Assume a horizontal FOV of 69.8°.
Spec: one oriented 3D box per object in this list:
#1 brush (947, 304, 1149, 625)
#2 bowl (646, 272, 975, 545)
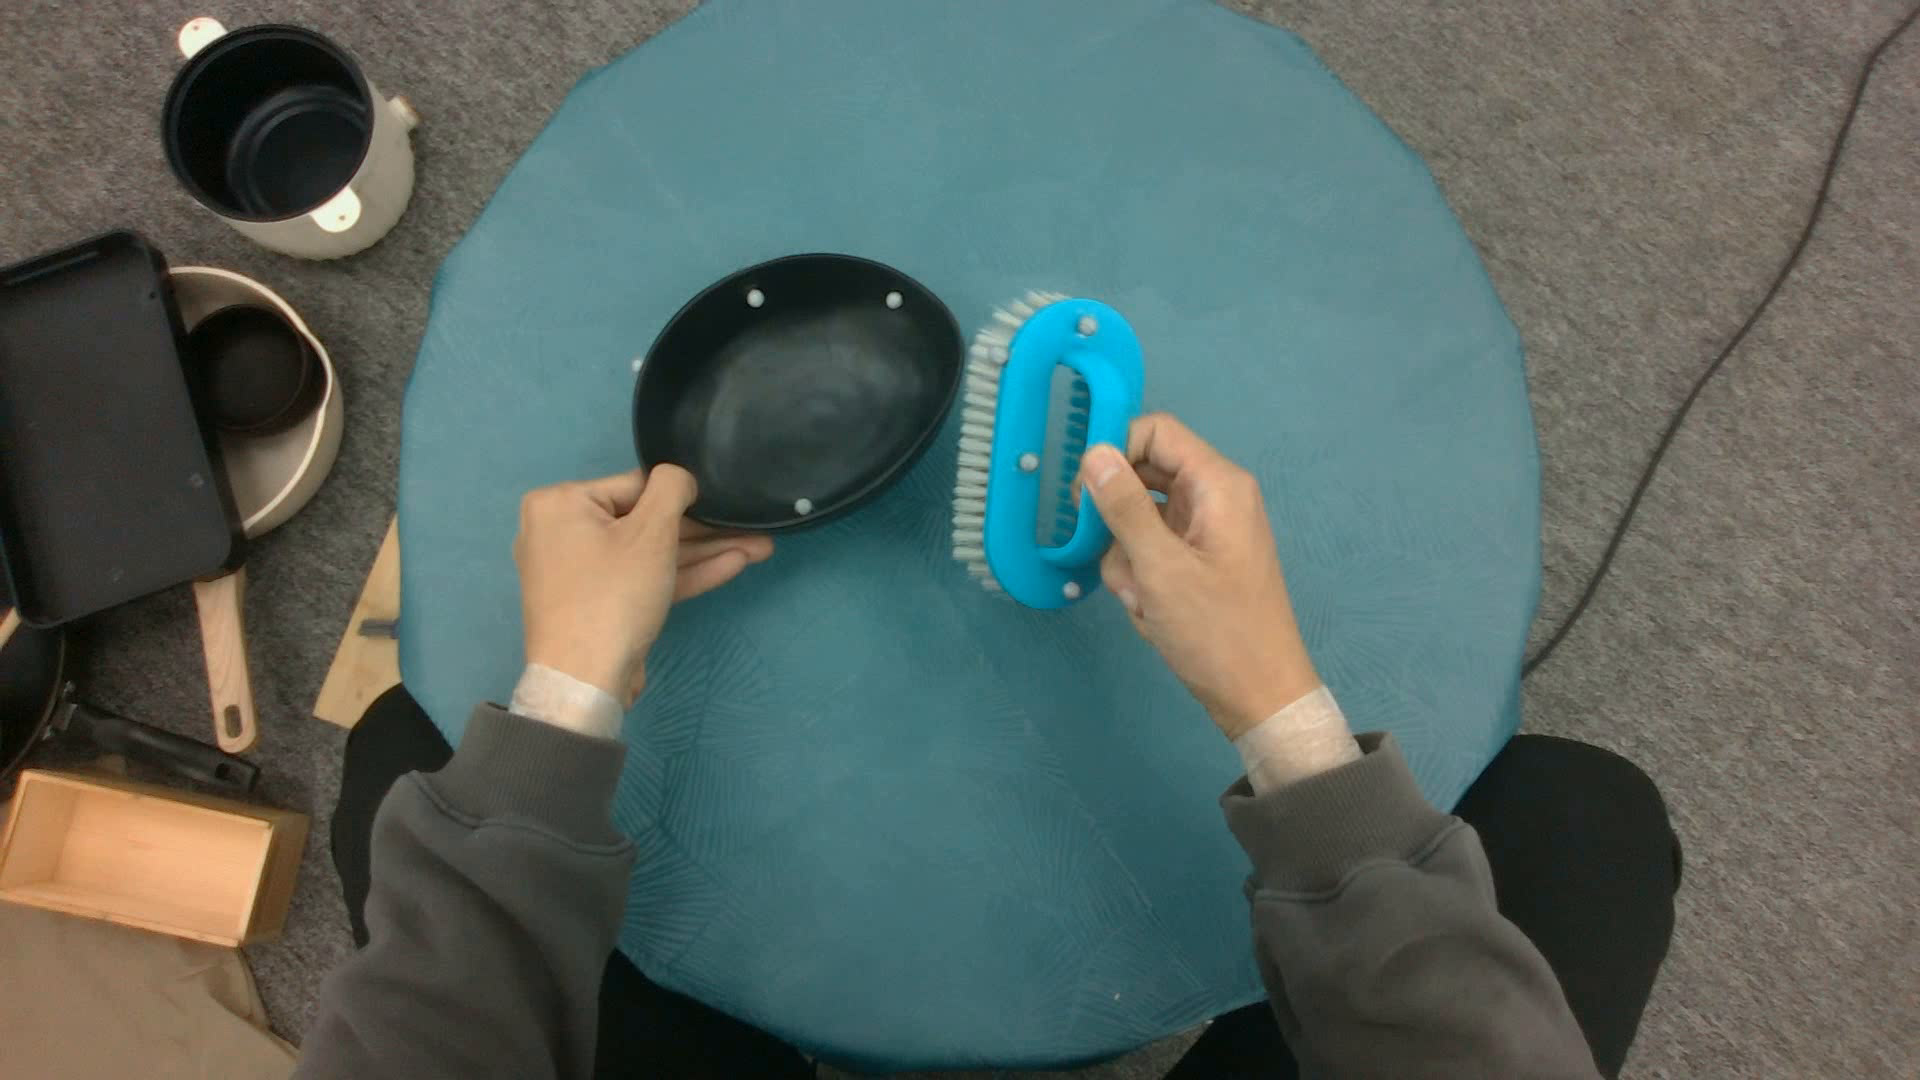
[{"bbox_3d":[0.049,-0.031,0.610,0.084,0.064,0.141,3,100,-34],"label":"brush"},{"bbox_3d":[-0.073,-0.061,0.700,0.170,0.066,0.137,-32,72,-9],"label":"bowl"}]
